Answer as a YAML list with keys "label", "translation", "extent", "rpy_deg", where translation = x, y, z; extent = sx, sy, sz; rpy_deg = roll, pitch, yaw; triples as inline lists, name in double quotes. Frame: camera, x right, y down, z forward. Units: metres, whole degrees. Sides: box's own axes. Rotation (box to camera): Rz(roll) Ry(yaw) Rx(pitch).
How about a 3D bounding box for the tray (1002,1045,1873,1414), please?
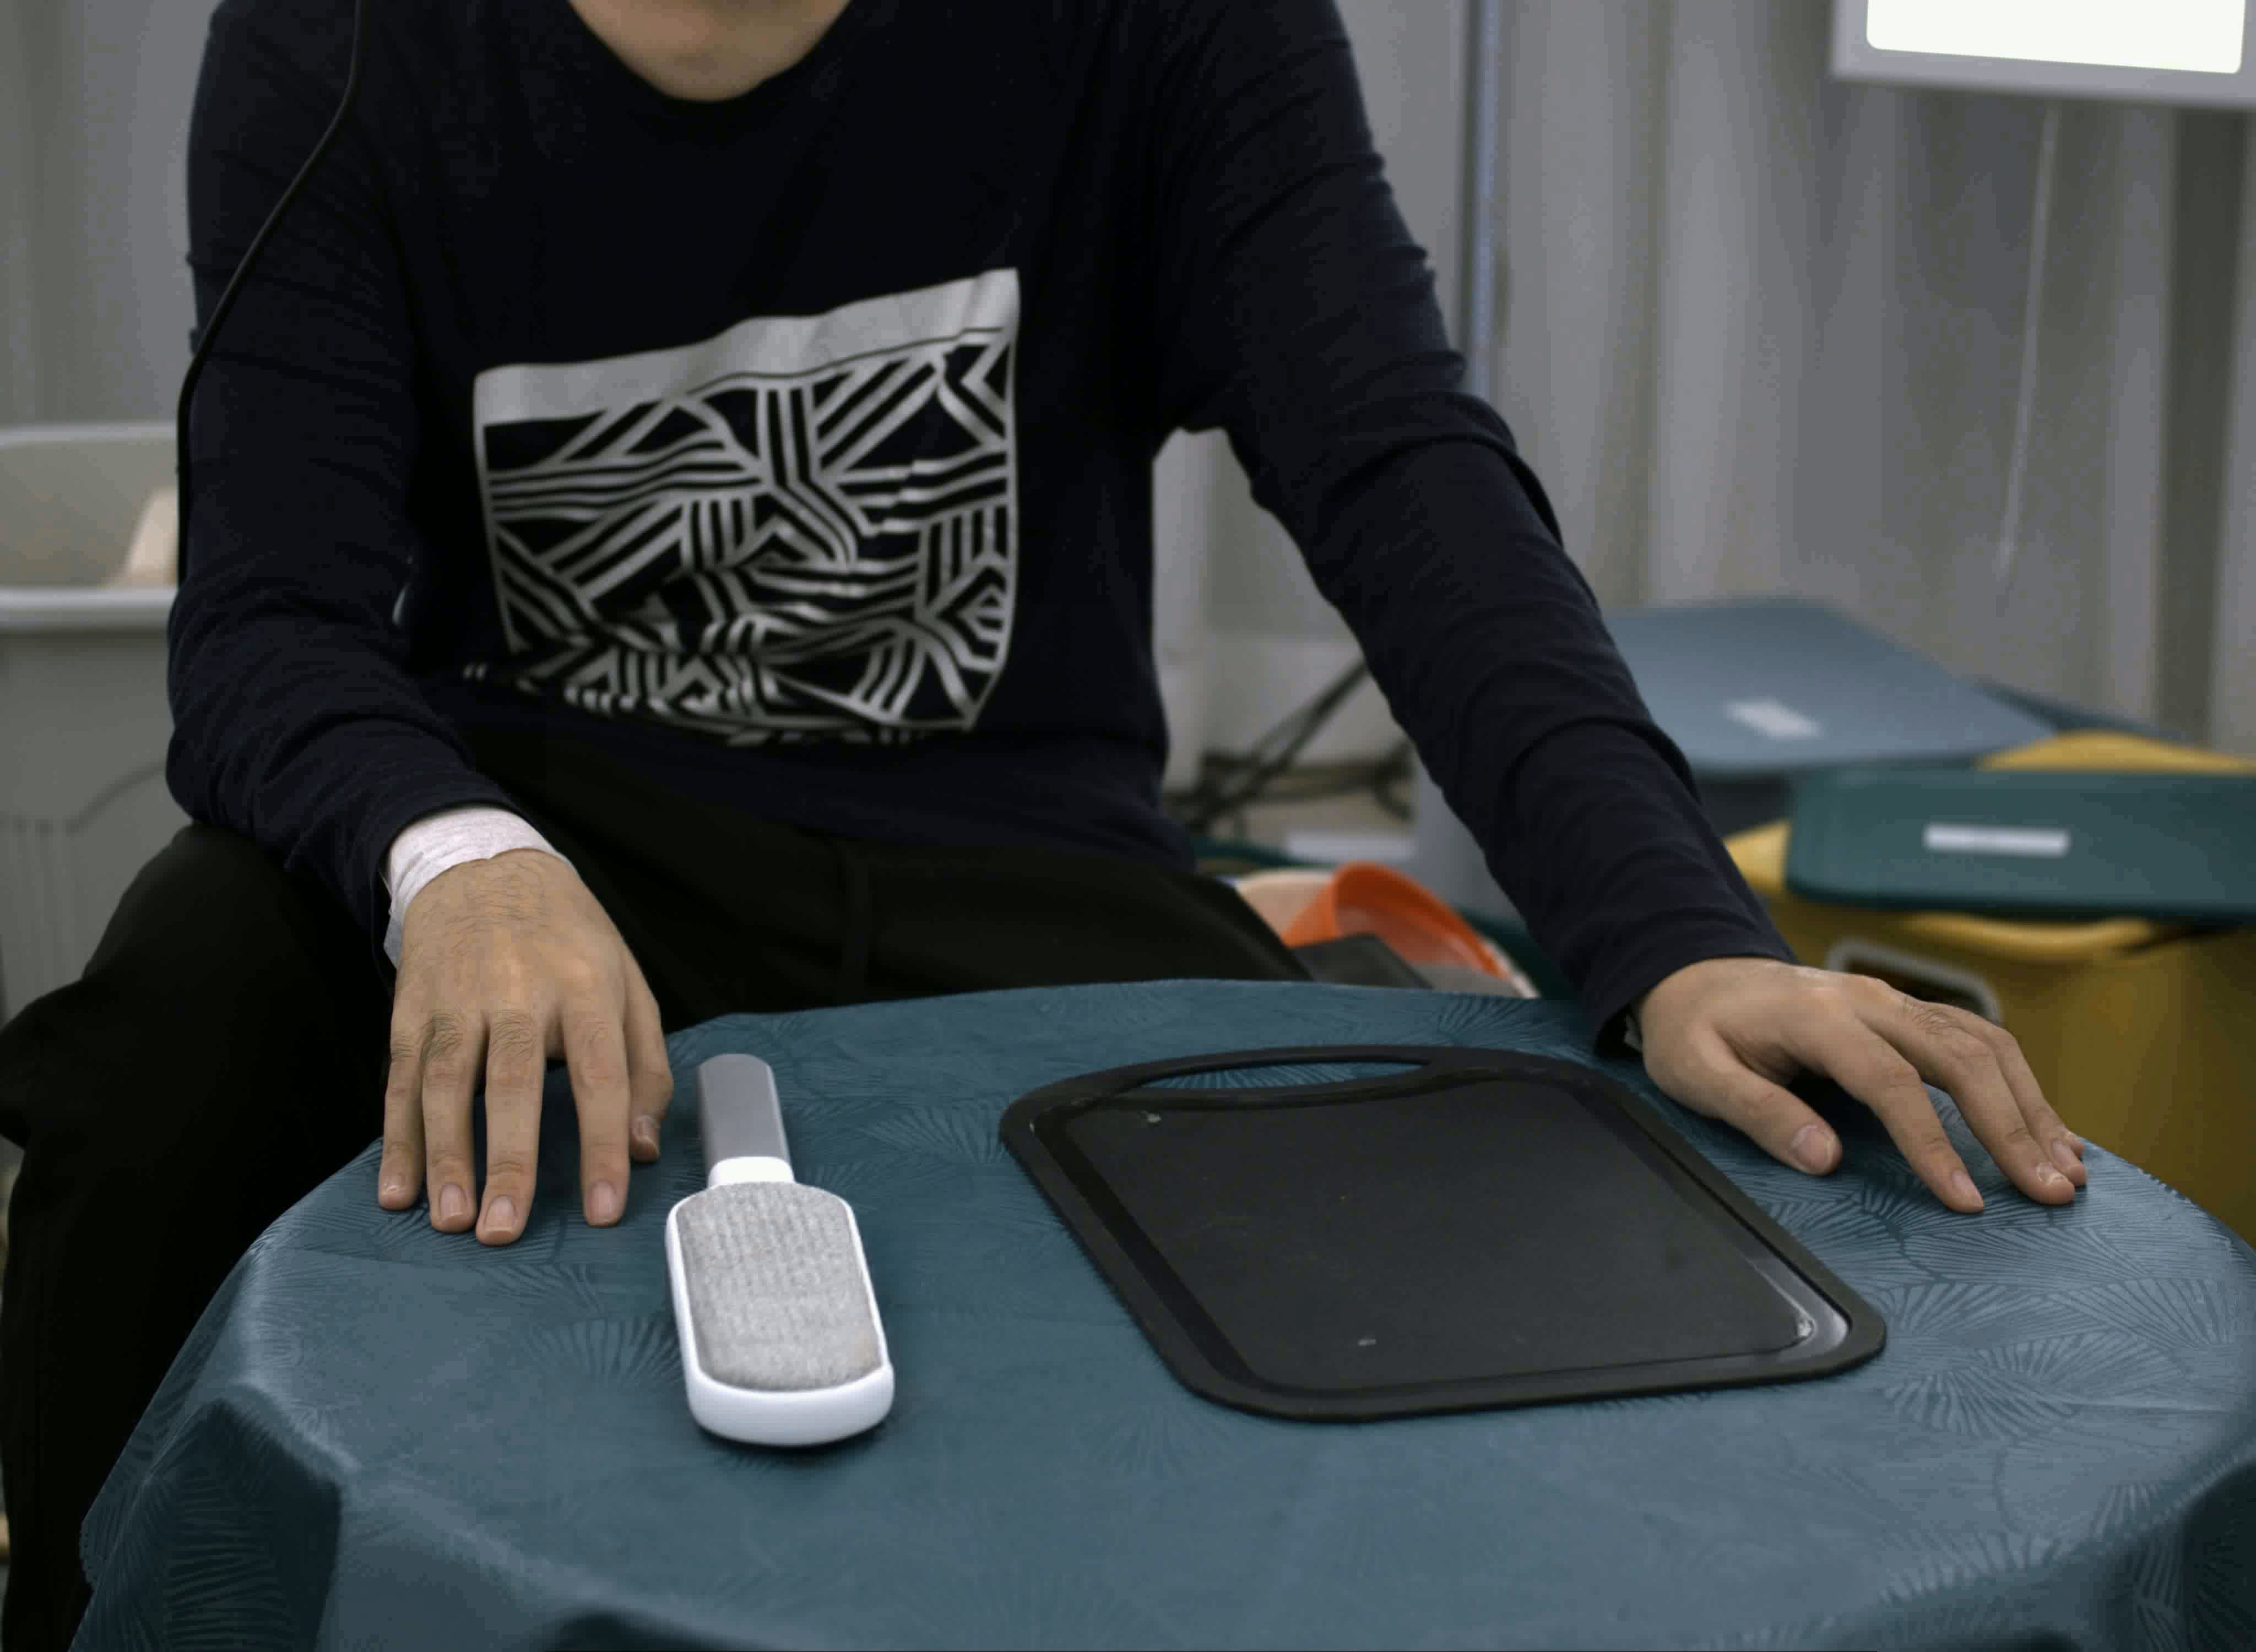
- label: "tray"
  translation: [0.084, 0.115, 1.606]
  extent: [0.211, 0.010, 0.322]
  rpy_deg: [-3, 16, -13]

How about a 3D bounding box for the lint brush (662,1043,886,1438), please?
- label: "lint brush"
  translation: [-0.107, 0.117, 1.551]
  extent: [0.060, 0.021, 0.306]
  rpy_deg: [-6, 16, -5]
